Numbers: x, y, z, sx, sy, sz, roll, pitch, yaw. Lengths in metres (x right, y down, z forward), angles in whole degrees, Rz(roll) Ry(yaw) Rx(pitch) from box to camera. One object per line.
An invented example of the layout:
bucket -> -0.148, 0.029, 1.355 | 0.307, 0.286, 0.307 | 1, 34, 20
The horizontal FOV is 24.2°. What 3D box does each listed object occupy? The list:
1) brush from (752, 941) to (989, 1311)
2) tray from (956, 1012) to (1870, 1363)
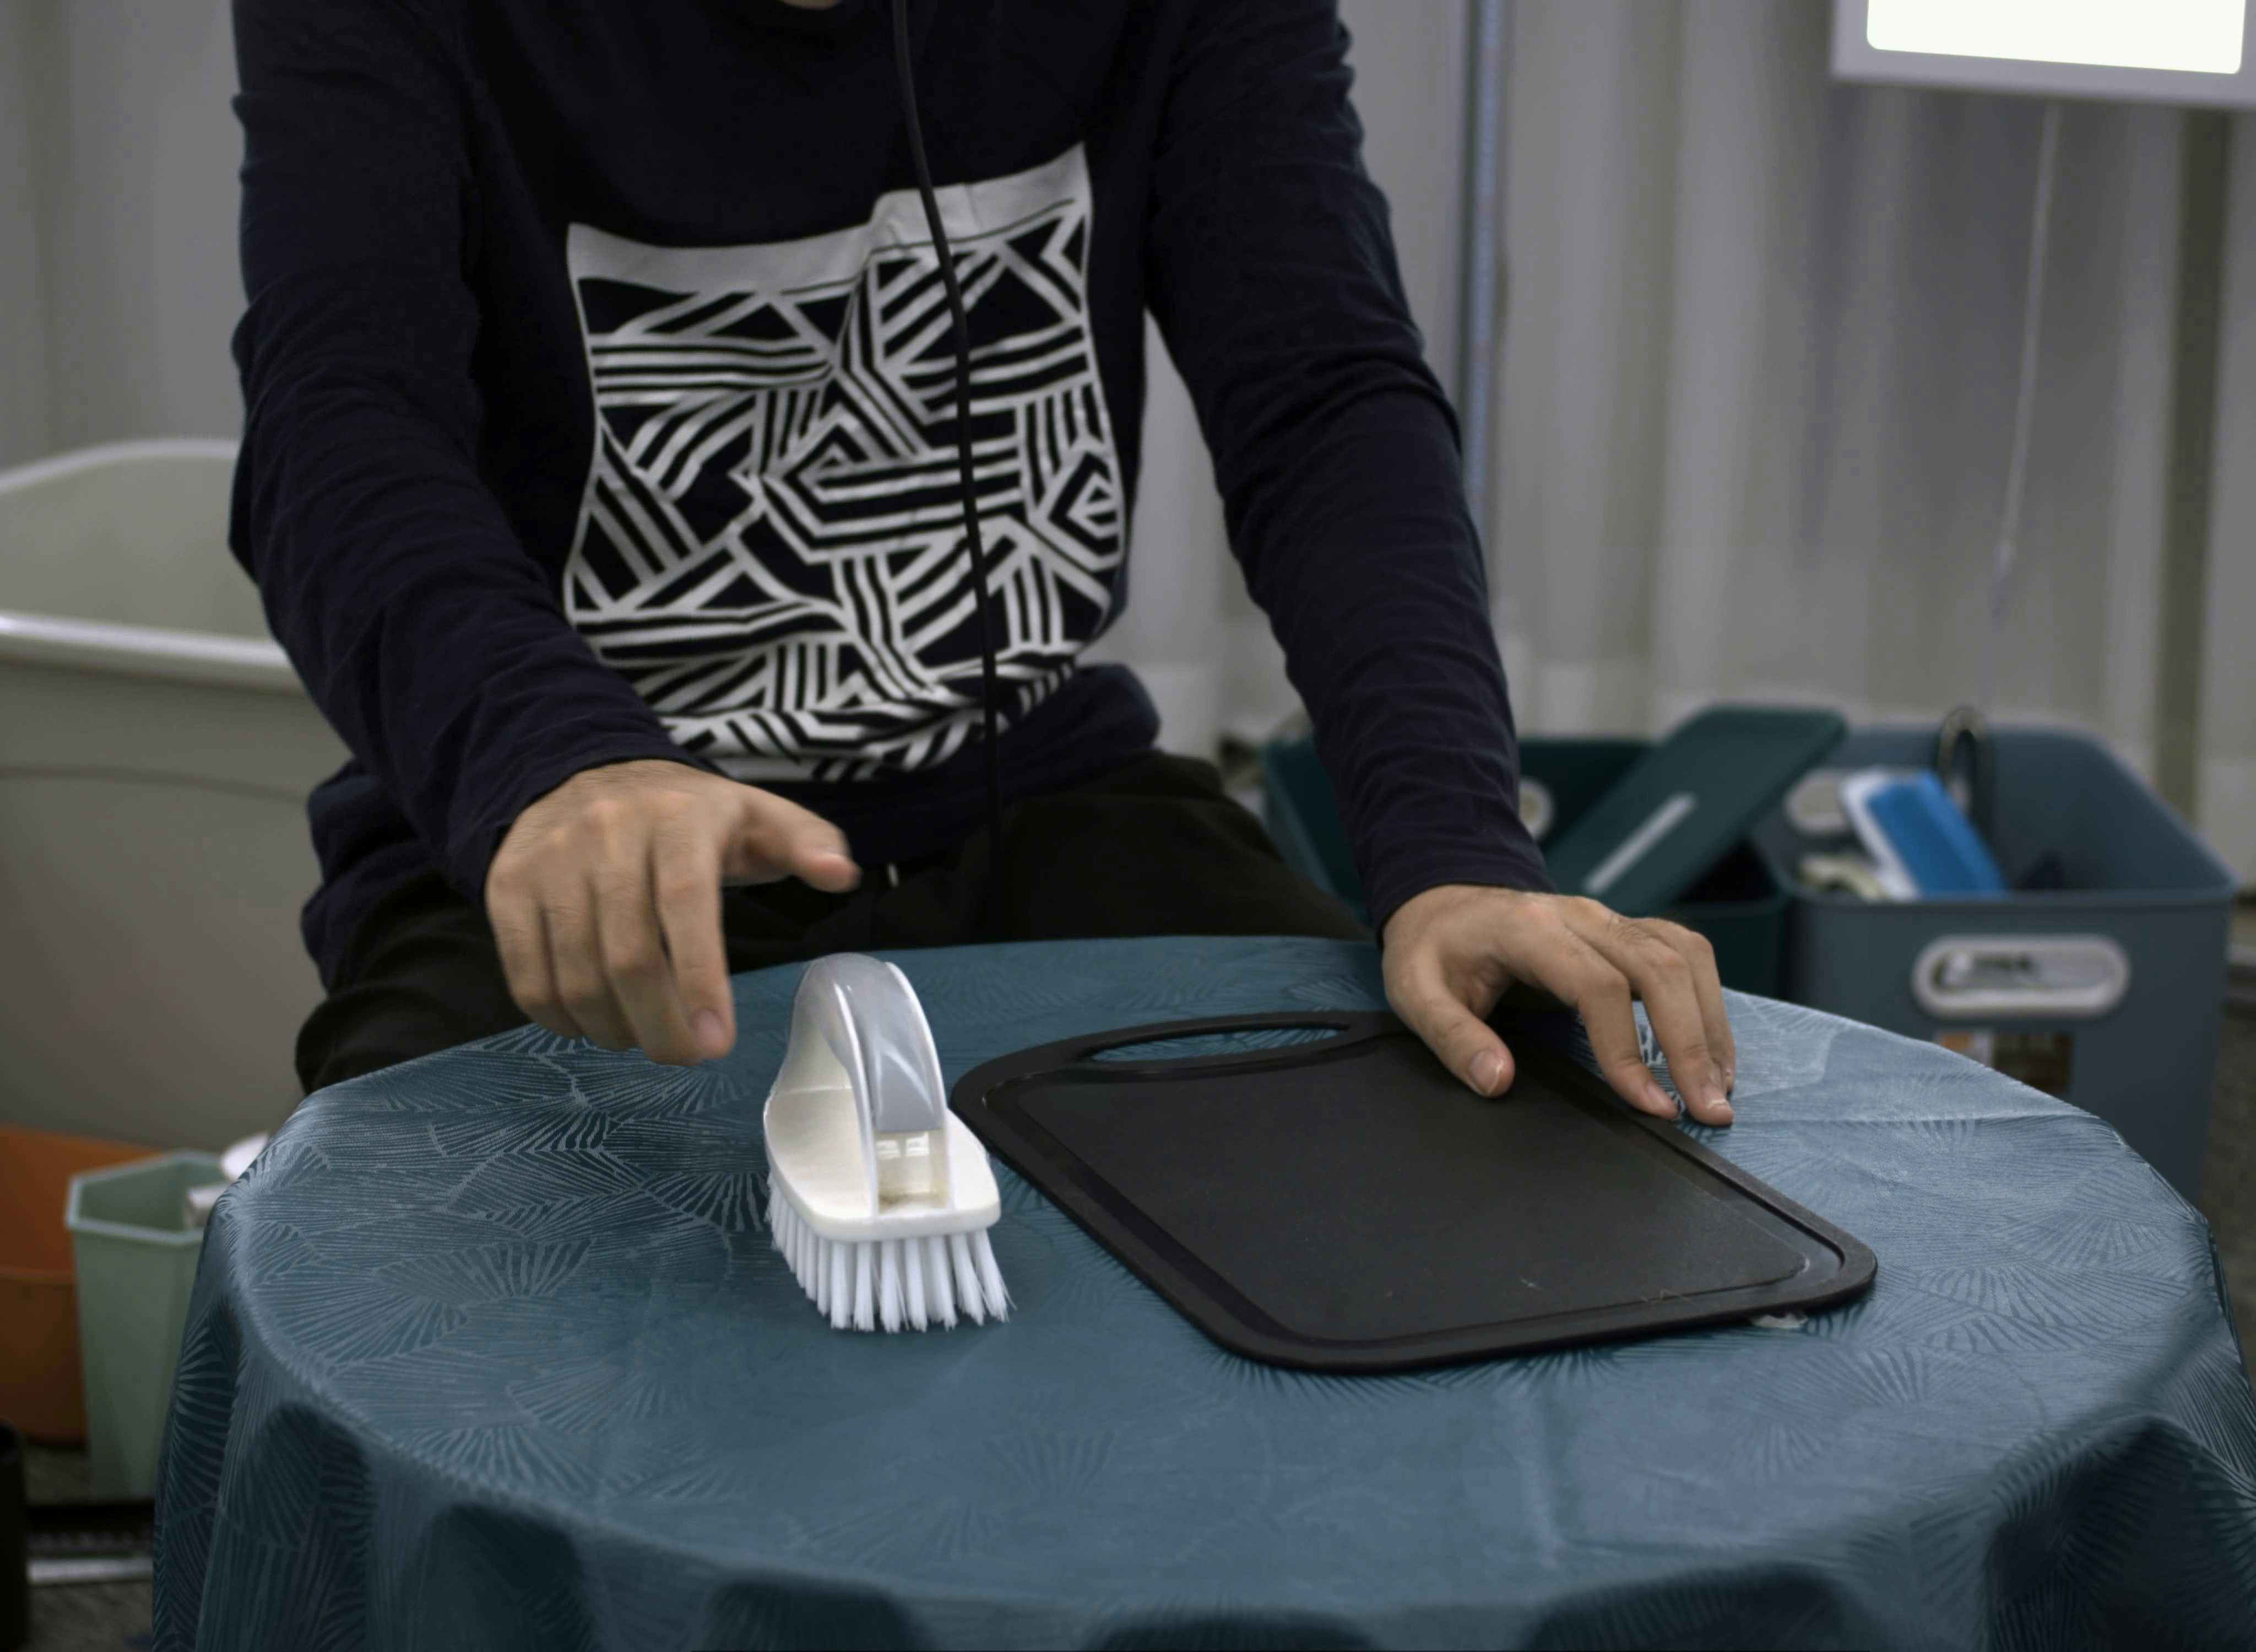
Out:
brush -> -0.083, 0.079, 1.570 | 0.061, 0.095, 0.174 | -1, 13, -14
tray -> 0.077, 0.105, 1.641 | 0.211, 0.010, 0.322 | -5, 16, -20
